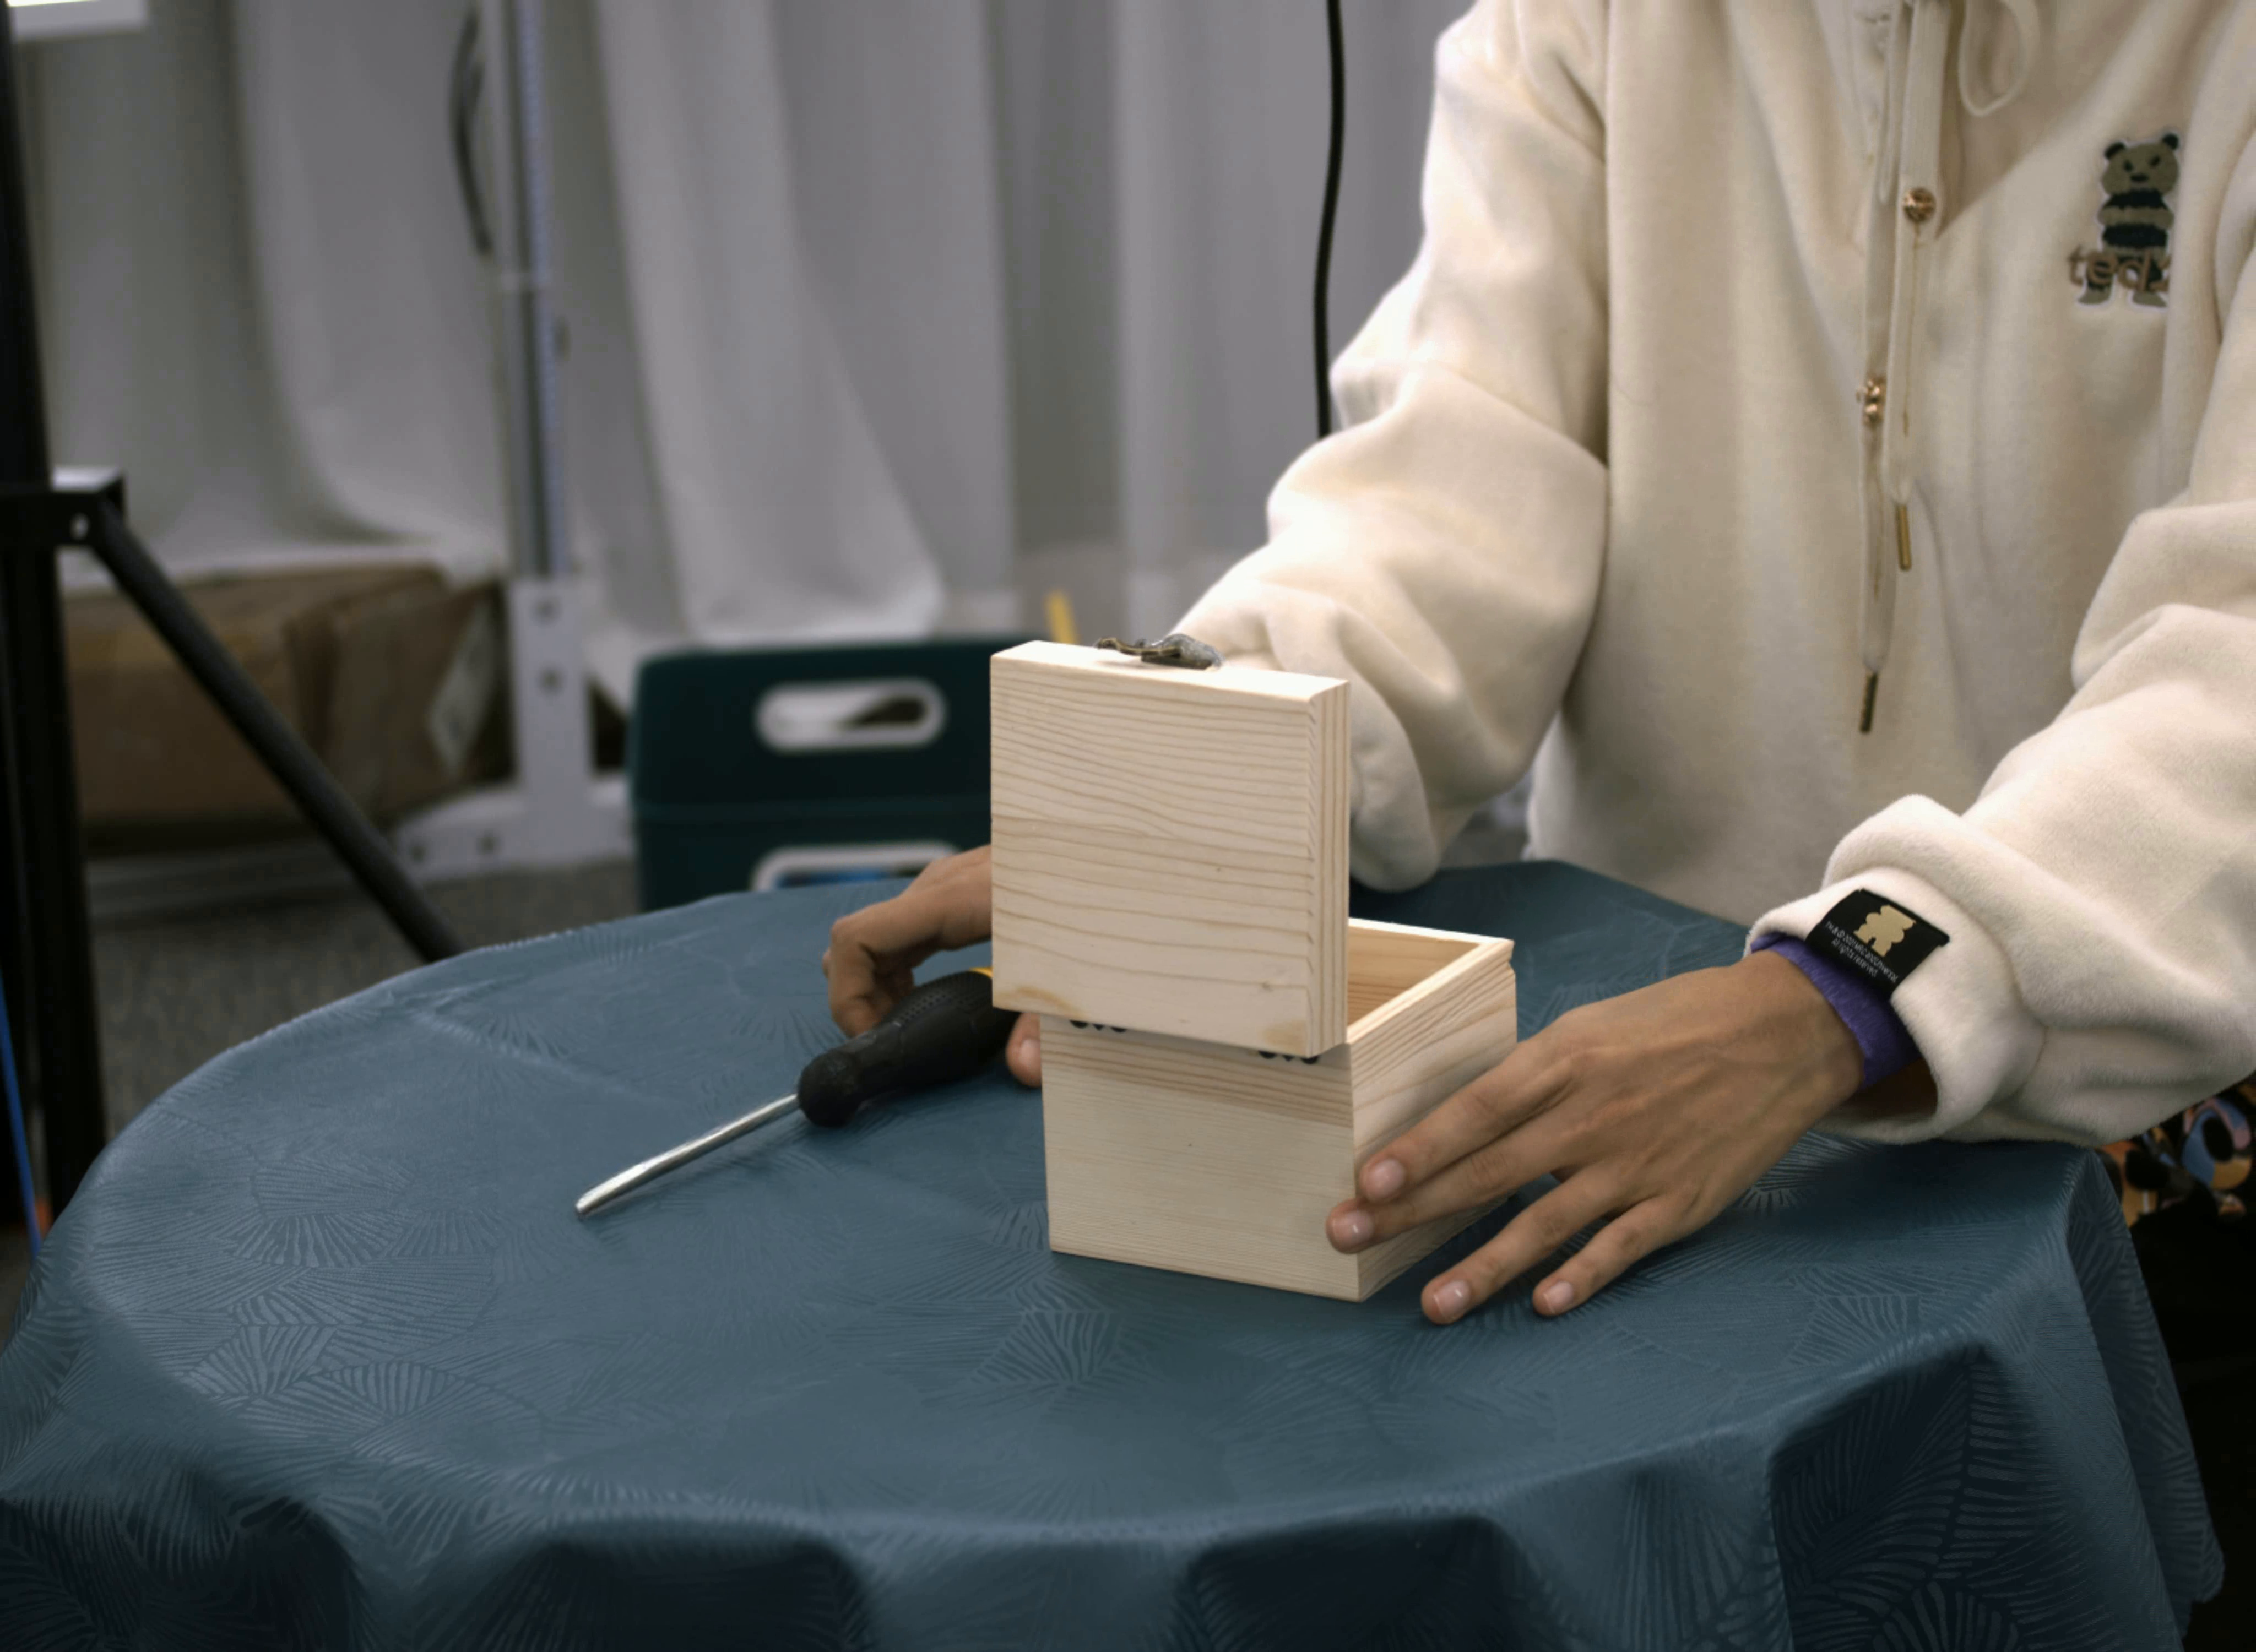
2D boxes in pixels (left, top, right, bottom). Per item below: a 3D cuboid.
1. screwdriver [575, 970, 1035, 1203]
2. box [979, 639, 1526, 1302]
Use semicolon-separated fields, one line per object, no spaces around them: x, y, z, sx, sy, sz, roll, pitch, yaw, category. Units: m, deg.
-0.100;0.081;1.628;0.032;0.031;0.193;13;24;43;screwdriver
0.038;0.029;1.495;0.104;0.184;0.131;6;18;32;box
